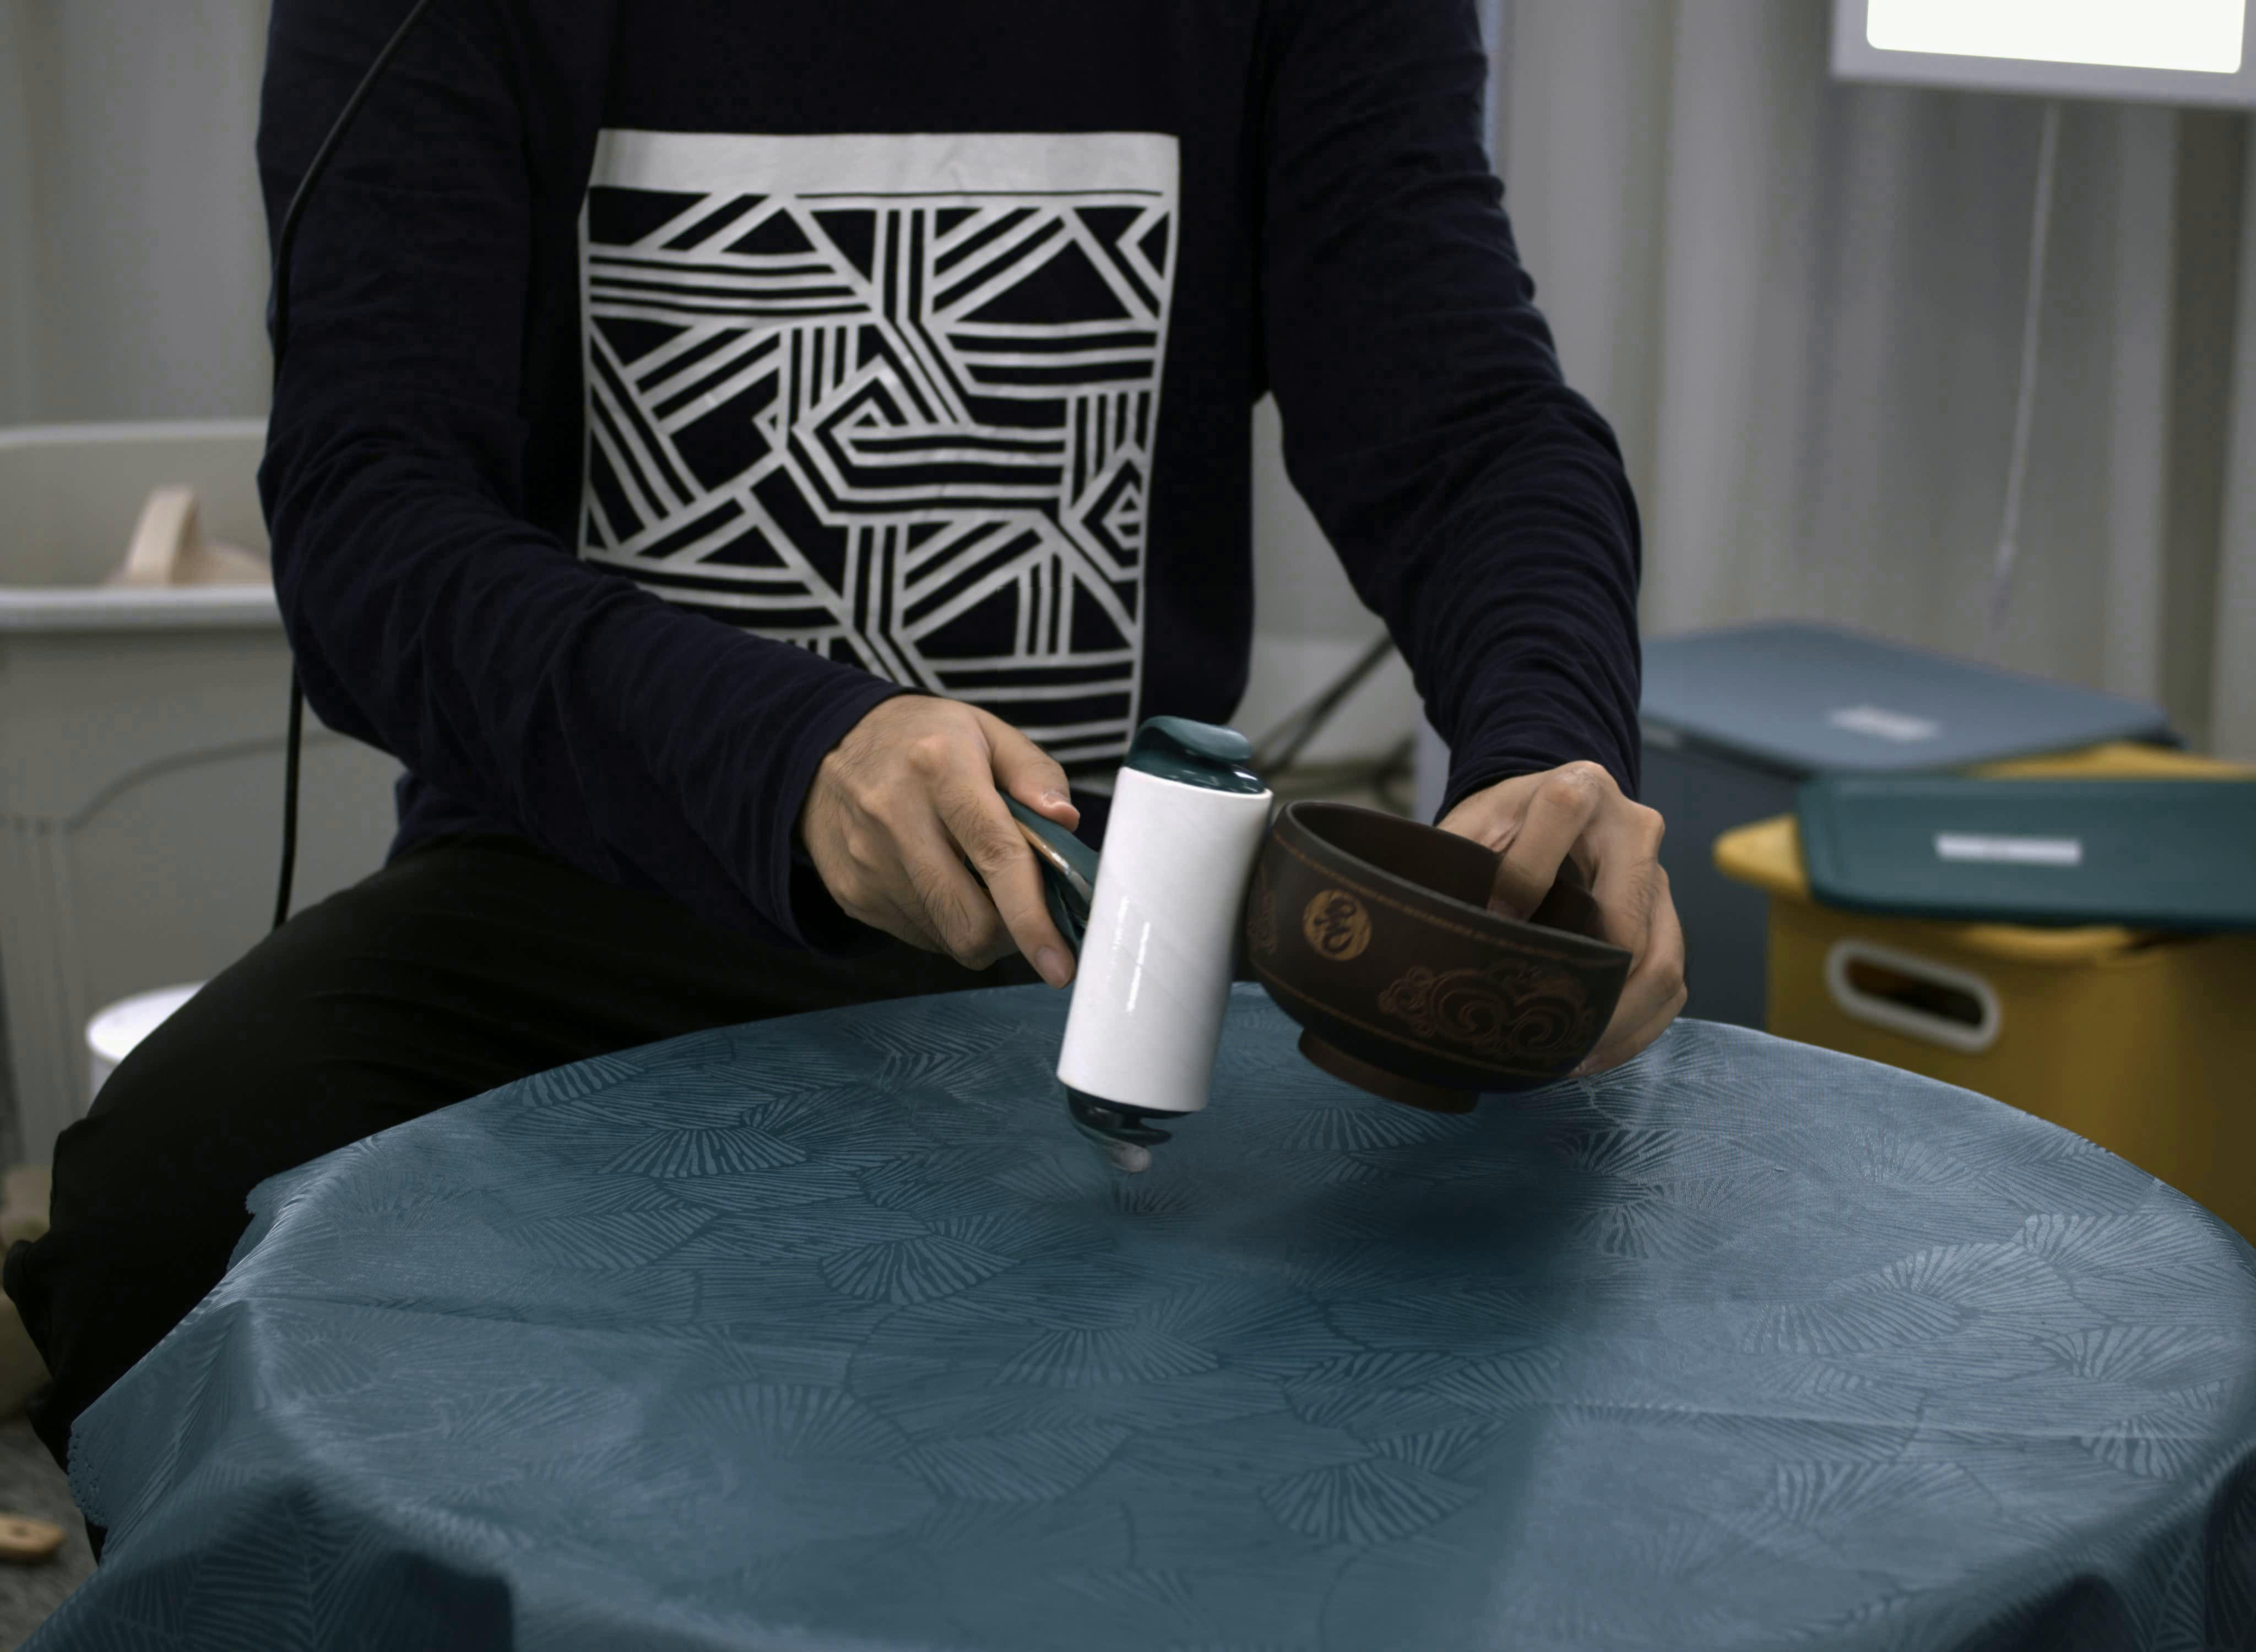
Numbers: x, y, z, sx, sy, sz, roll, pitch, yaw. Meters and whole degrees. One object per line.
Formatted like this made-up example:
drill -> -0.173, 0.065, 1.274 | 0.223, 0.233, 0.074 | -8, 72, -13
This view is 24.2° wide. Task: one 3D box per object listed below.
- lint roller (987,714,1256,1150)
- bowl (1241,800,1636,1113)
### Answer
lint roller -> -0.024, 0.020, 1.645 | 0.048, 0.135, 0.178 | 12, 5, -27
bowl -> 0.089, 0.044, 1.585 | 0.118, 0.070, 0.117 | 17, 11, -3
